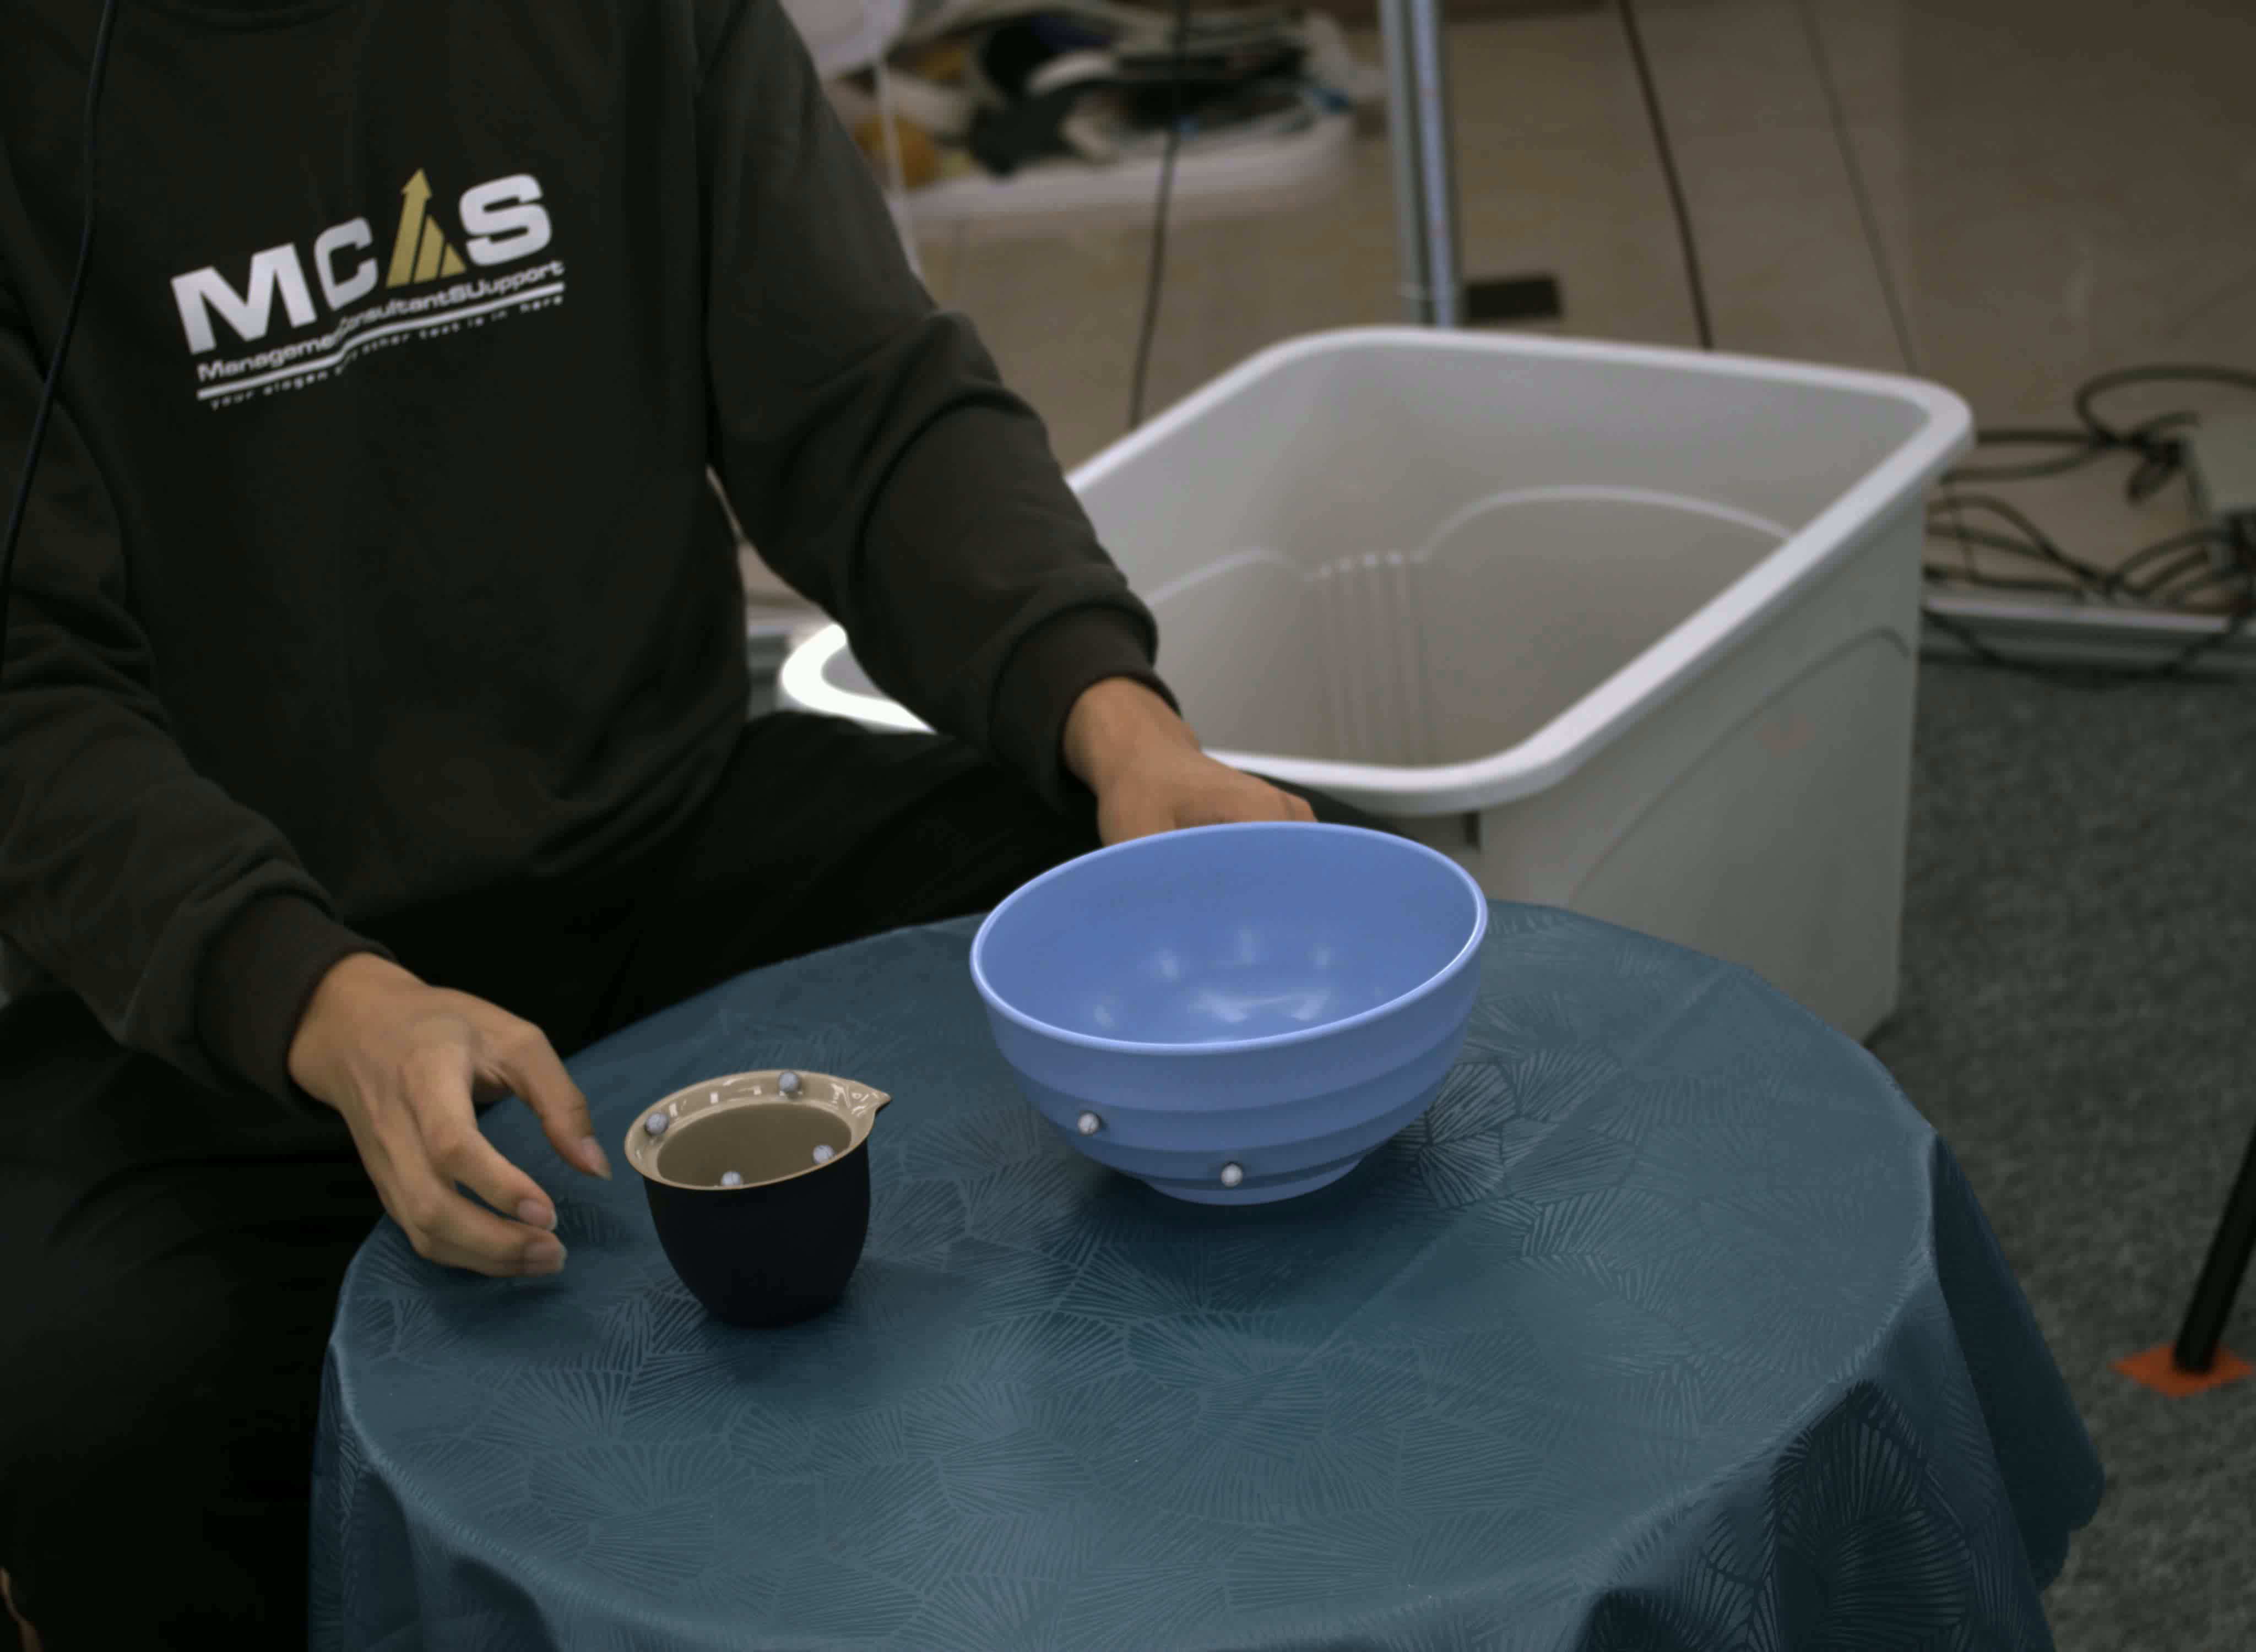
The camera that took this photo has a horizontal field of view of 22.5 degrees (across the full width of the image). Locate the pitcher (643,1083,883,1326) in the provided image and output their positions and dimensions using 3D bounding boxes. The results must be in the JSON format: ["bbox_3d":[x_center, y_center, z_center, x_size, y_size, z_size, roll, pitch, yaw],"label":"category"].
[{"bbox_3d":[-0.129,0.140,2.089,0.095,0.072,0.083,-17,26,-20],"label":"pitcher"}]

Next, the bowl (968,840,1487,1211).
[{"bbox_3d":[0.042,0.084,2.150,0.196,0.097,0.194,-5,22,2],"label":"bowl"}]
